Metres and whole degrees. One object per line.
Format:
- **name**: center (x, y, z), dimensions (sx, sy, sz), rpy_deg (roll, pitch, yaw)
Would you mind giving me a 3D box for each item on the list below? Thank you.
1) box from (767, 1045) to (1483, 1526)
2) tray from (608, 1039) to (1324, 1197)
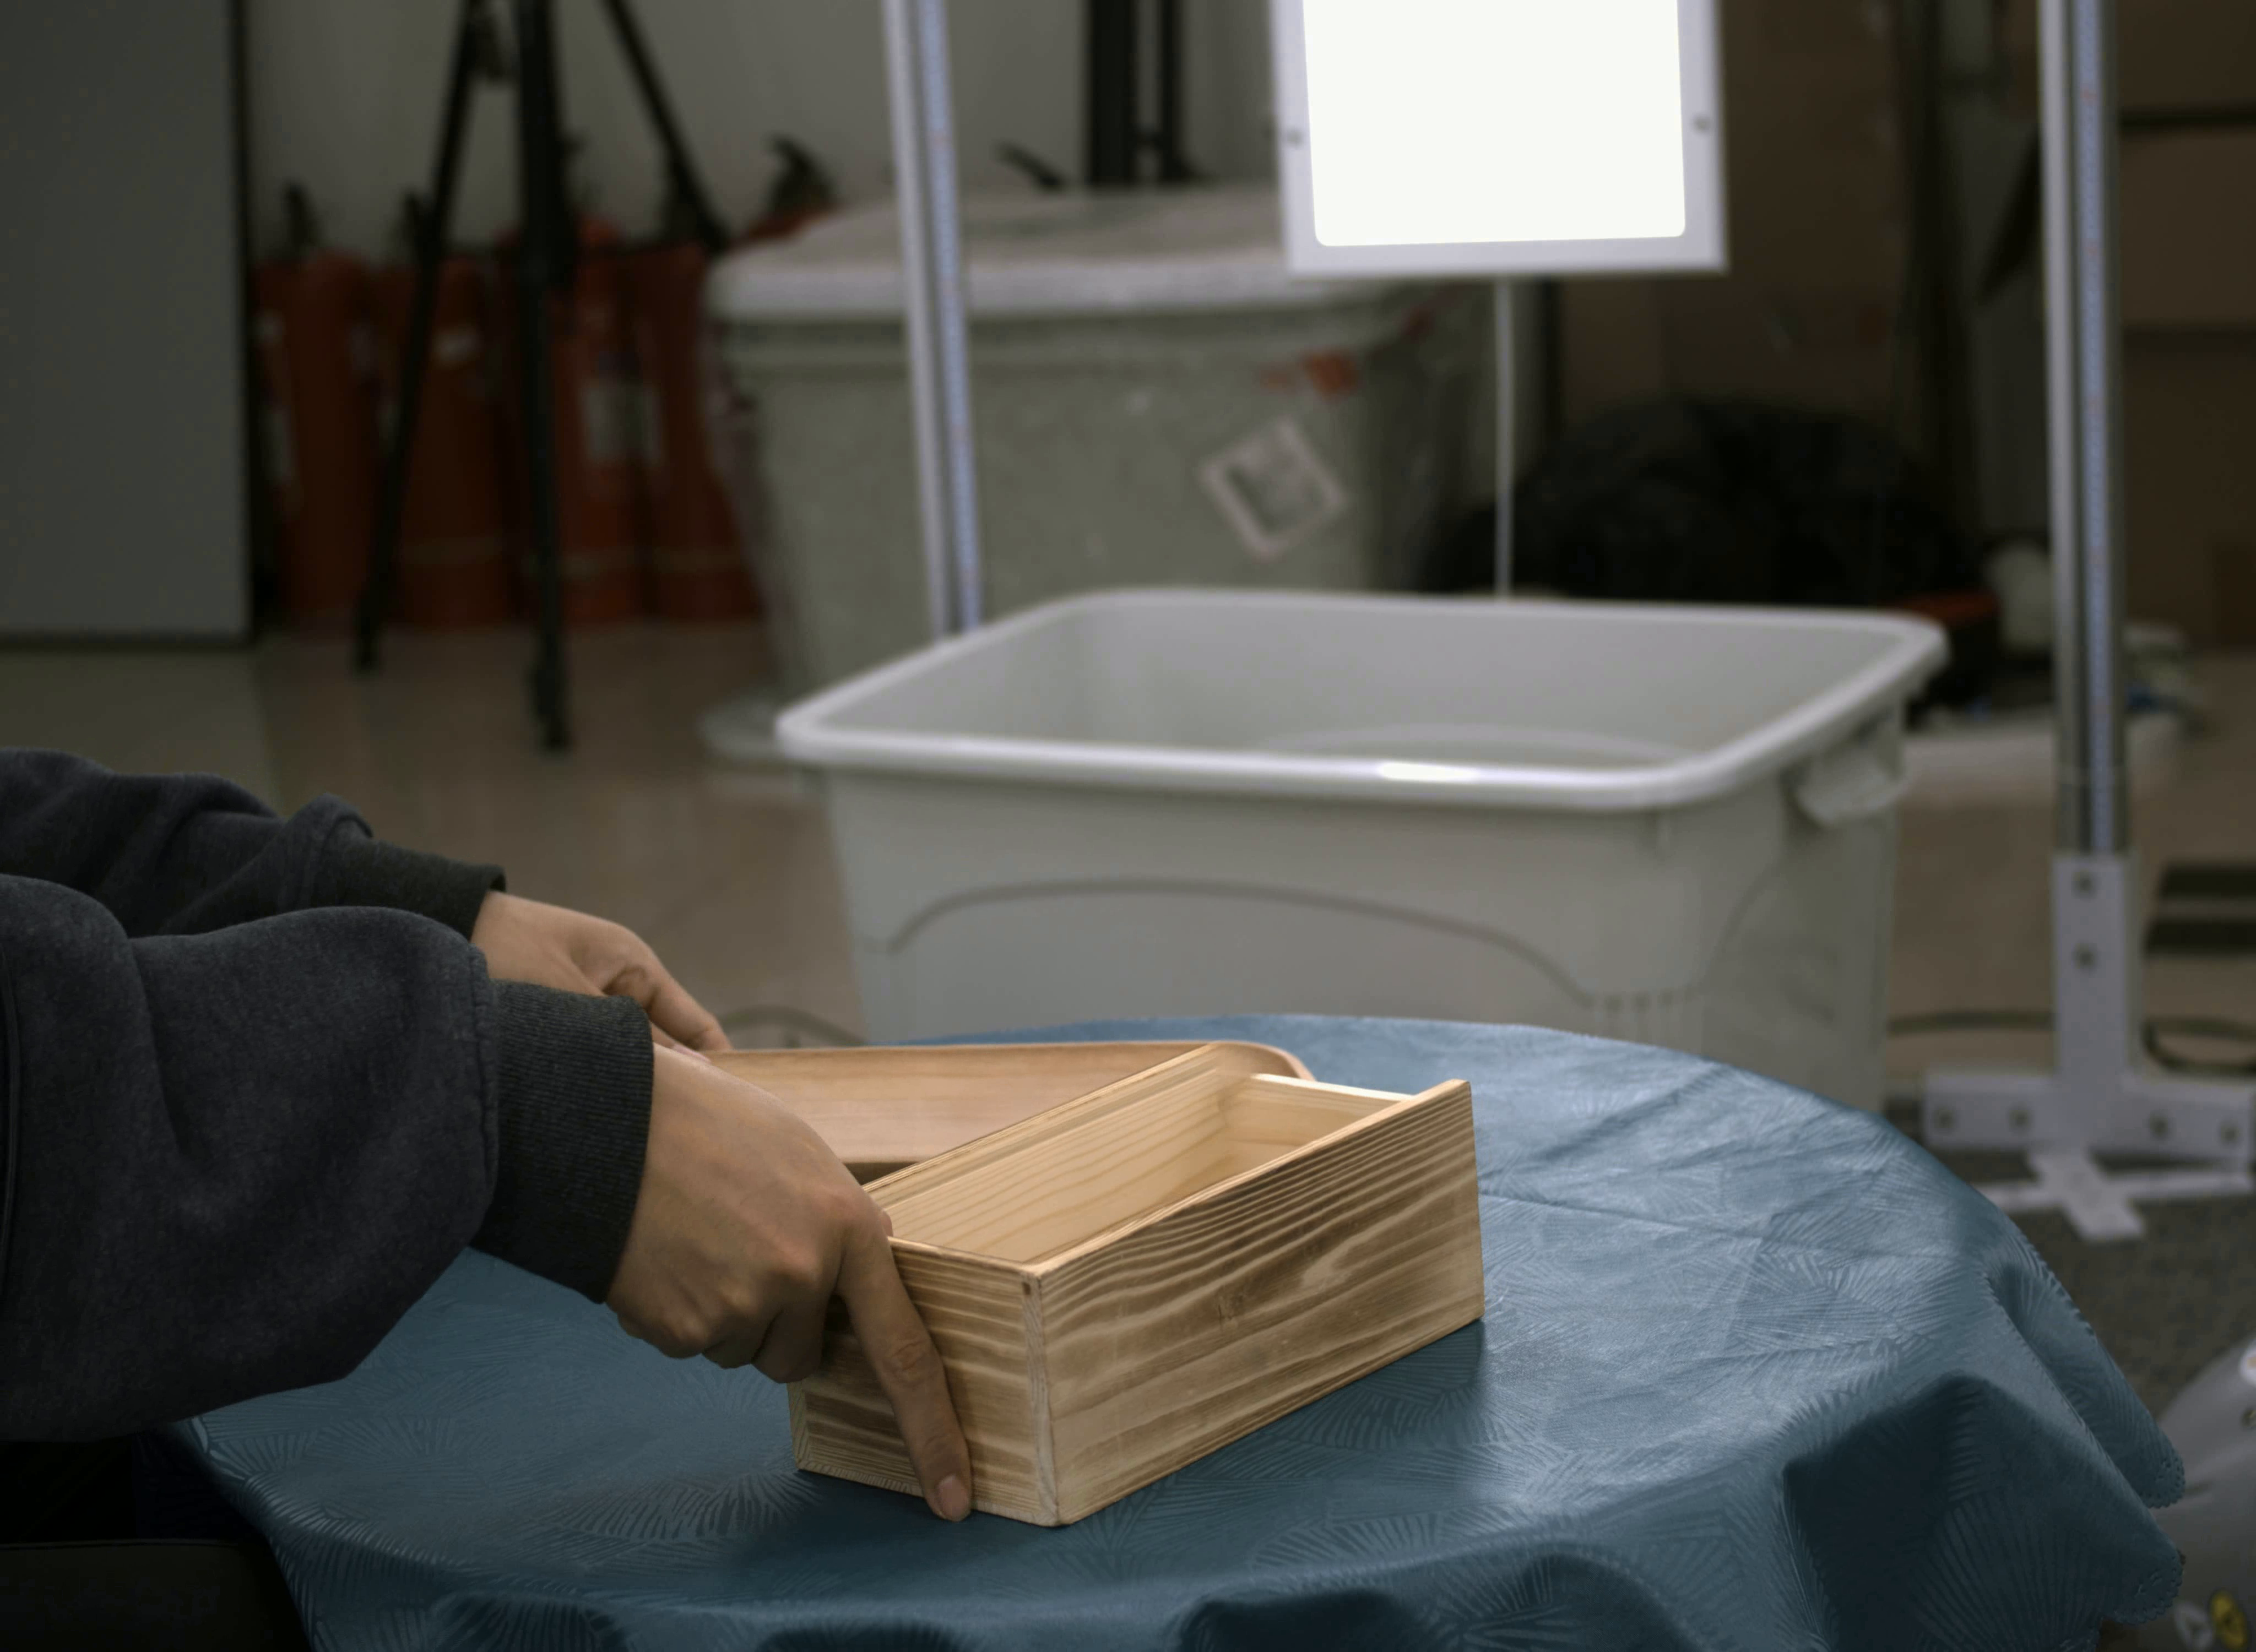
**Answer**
- **box**: center (0.003, 0.137, 1.688), dimensions (0.110, 0.080, 0.206), rpy_deg (7, 18, 41)
- **tray**: center (-0.053, 0.102, 1.923), dimensions (0.248, 0.023, 0.131), rpy_deg (-1, 13, -9)
